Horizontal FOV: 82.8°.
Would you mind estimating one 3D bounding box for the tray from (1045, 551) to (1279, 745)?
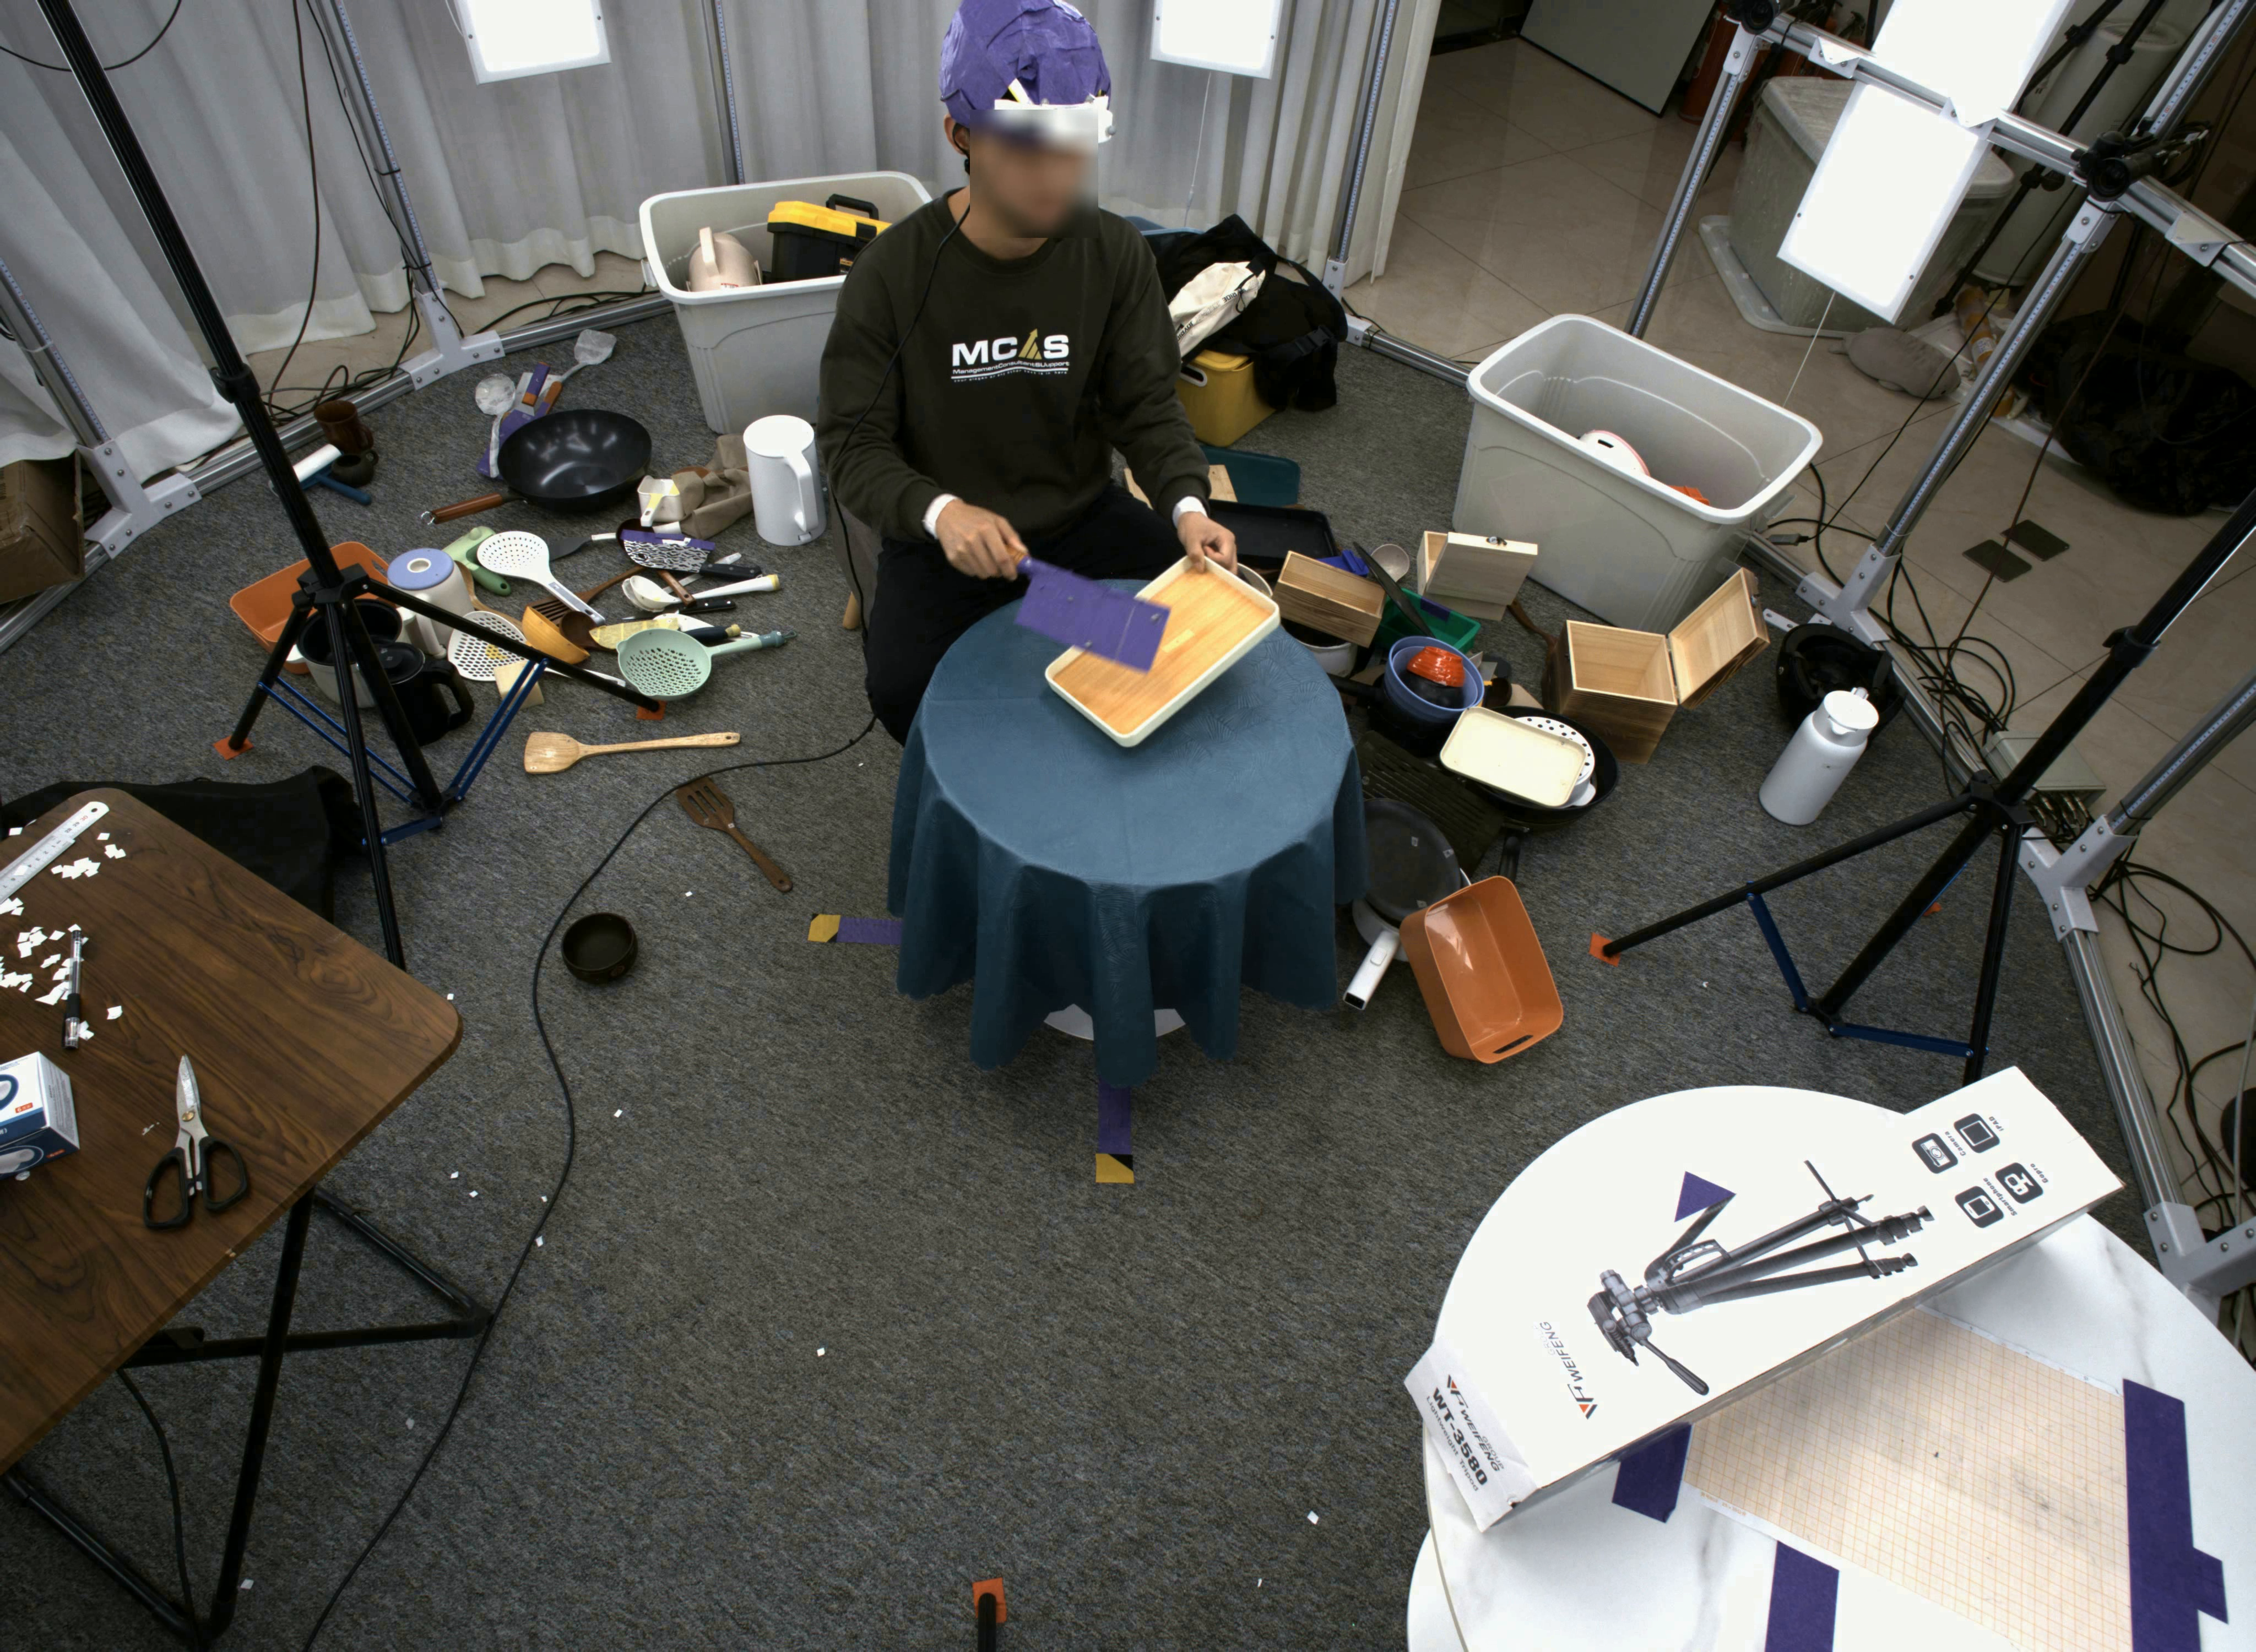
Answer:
[{"bbox_3d":[0.047,-0.255,1.805,0.302,0.027,0.195,-40,54,-13],"label":"tray"}]

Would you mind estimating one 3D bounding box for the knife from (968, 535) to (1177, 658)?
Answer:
[{"bbox_3d":[-0.088,-0.308,1.732,0.318,0.103,0.032,22,5,22],"label":"knife"}]
